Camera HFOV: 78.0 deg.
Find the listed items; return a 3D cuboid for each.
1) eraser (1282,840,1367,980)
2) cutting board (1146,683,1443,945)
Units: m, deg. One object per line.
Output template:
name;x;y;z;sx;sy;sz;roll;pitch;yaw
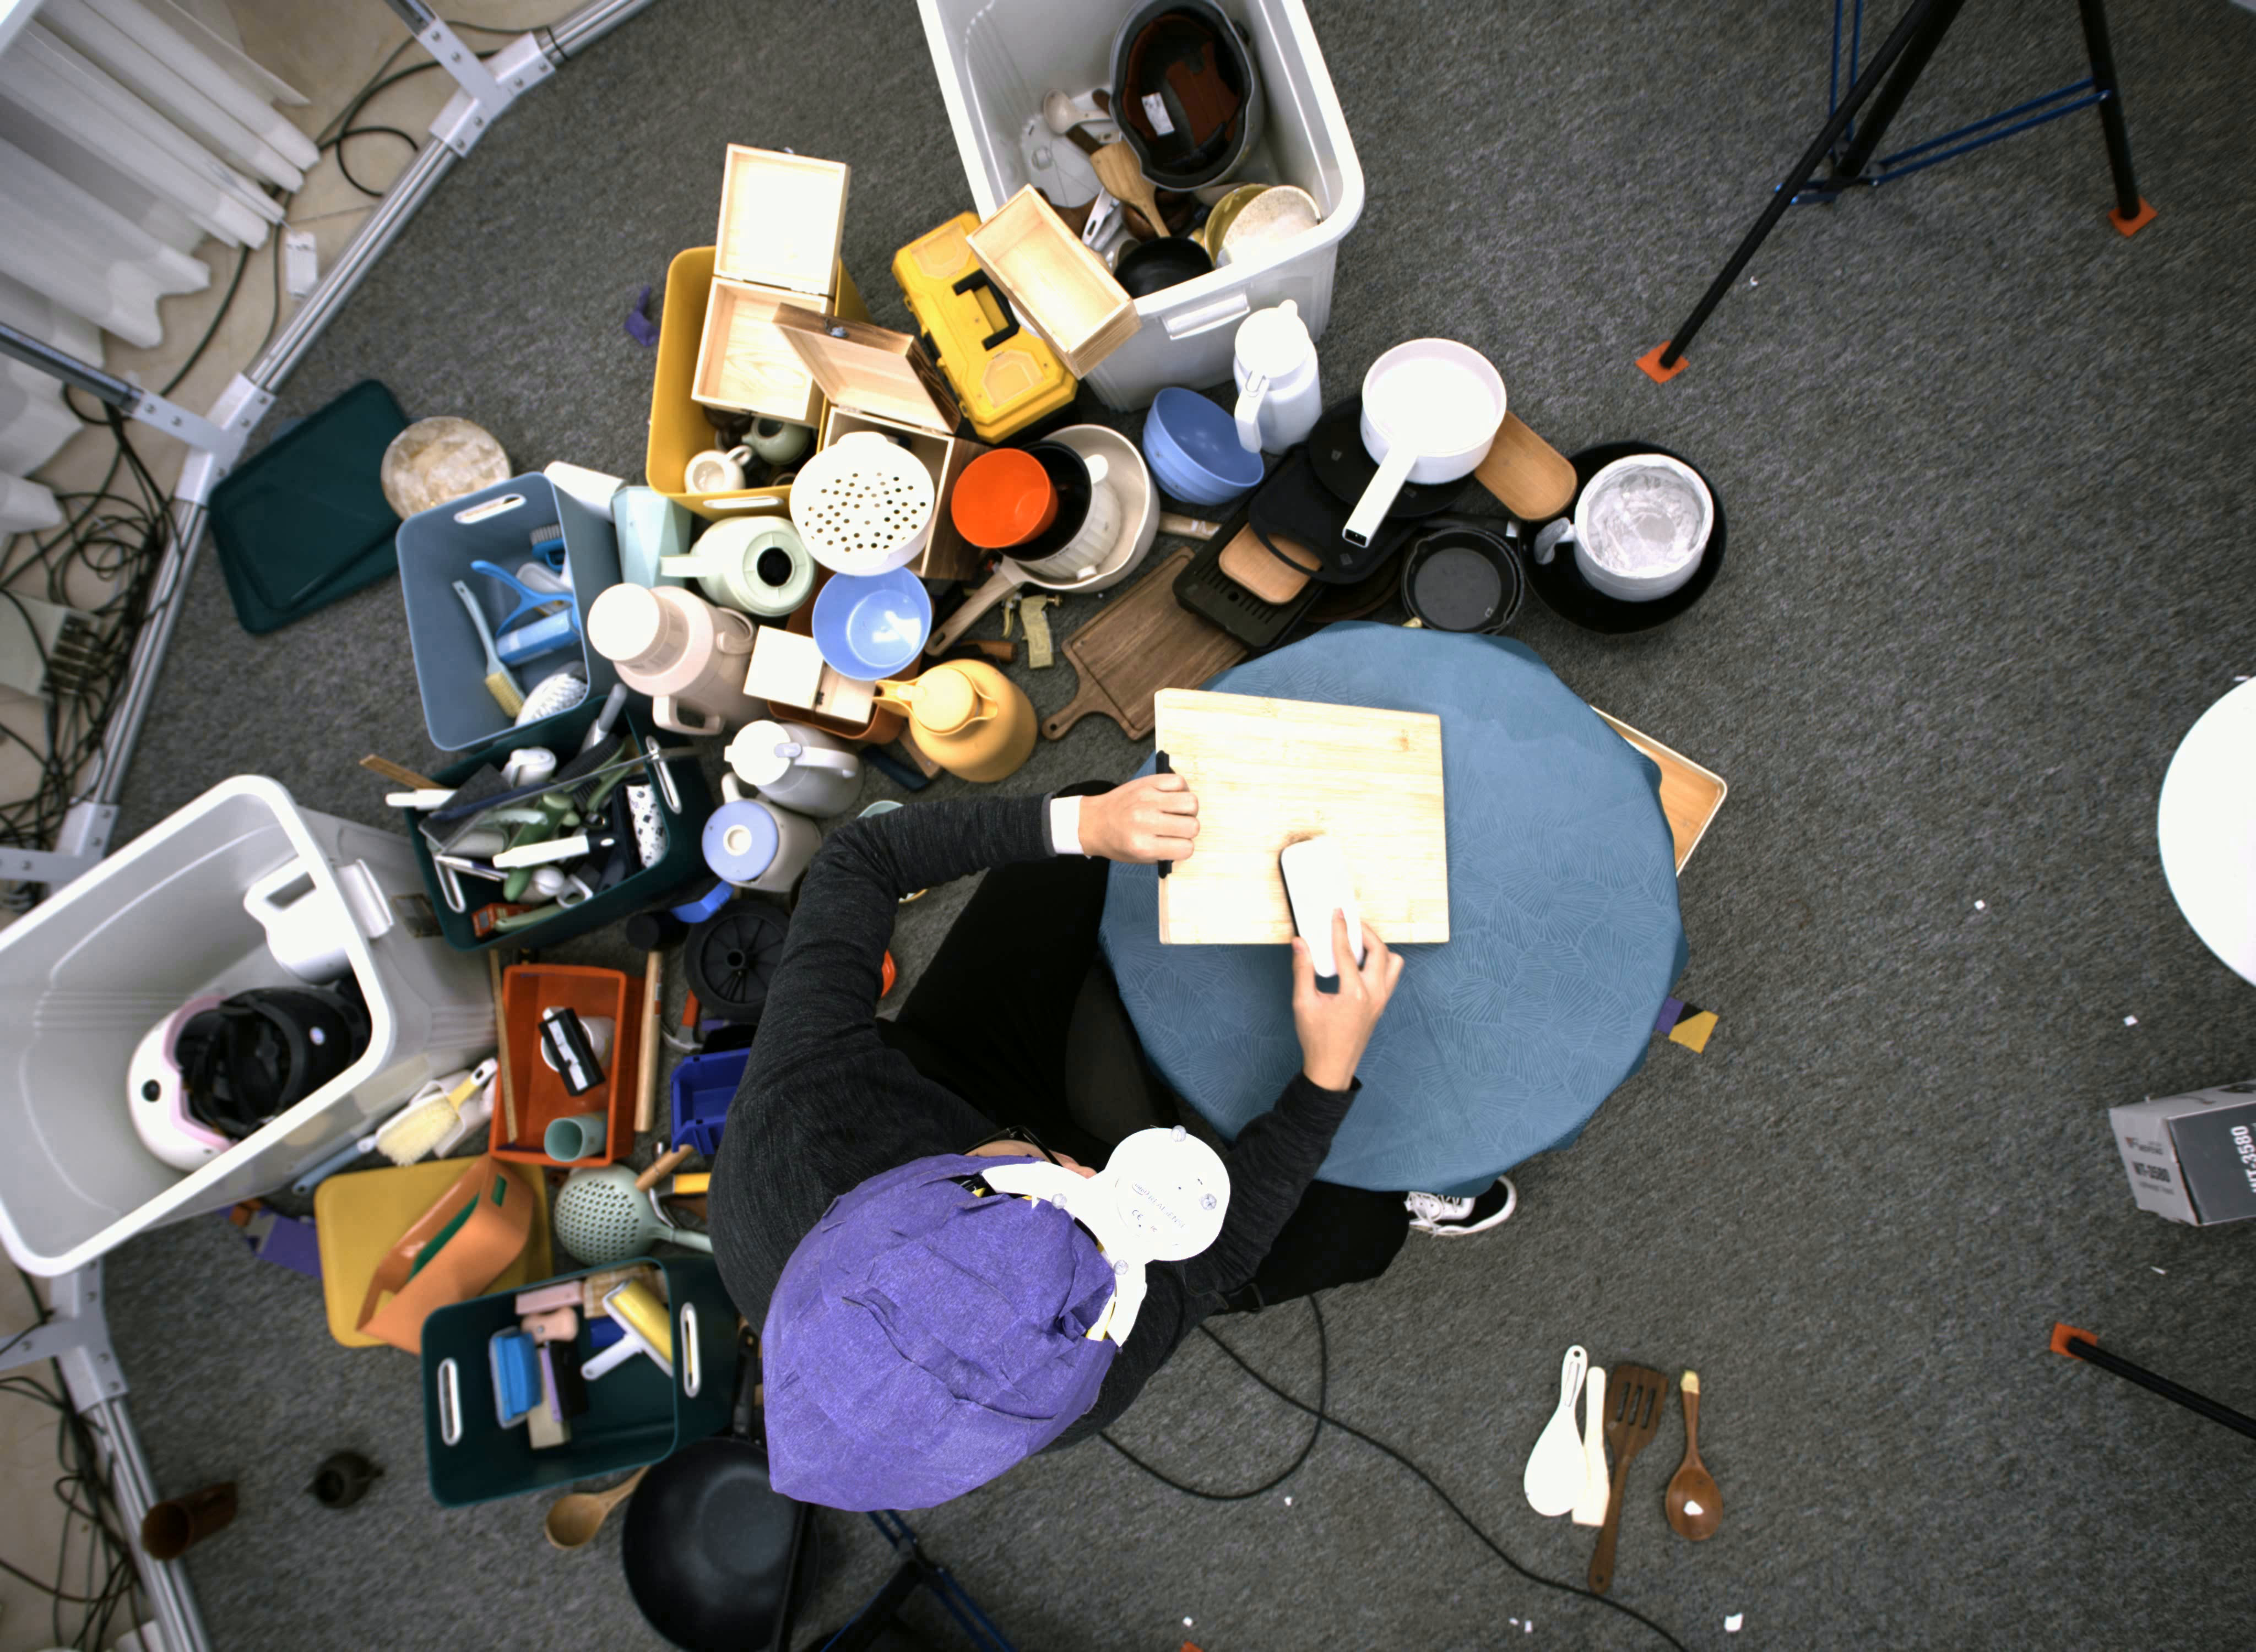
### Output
eraser;0.190;0.081;1.339;0.063;0.035;0.131;-14;92;-28
cutting board;0.173;-0.006;1.365;0.347;0.024;0.249;1;86;-28
